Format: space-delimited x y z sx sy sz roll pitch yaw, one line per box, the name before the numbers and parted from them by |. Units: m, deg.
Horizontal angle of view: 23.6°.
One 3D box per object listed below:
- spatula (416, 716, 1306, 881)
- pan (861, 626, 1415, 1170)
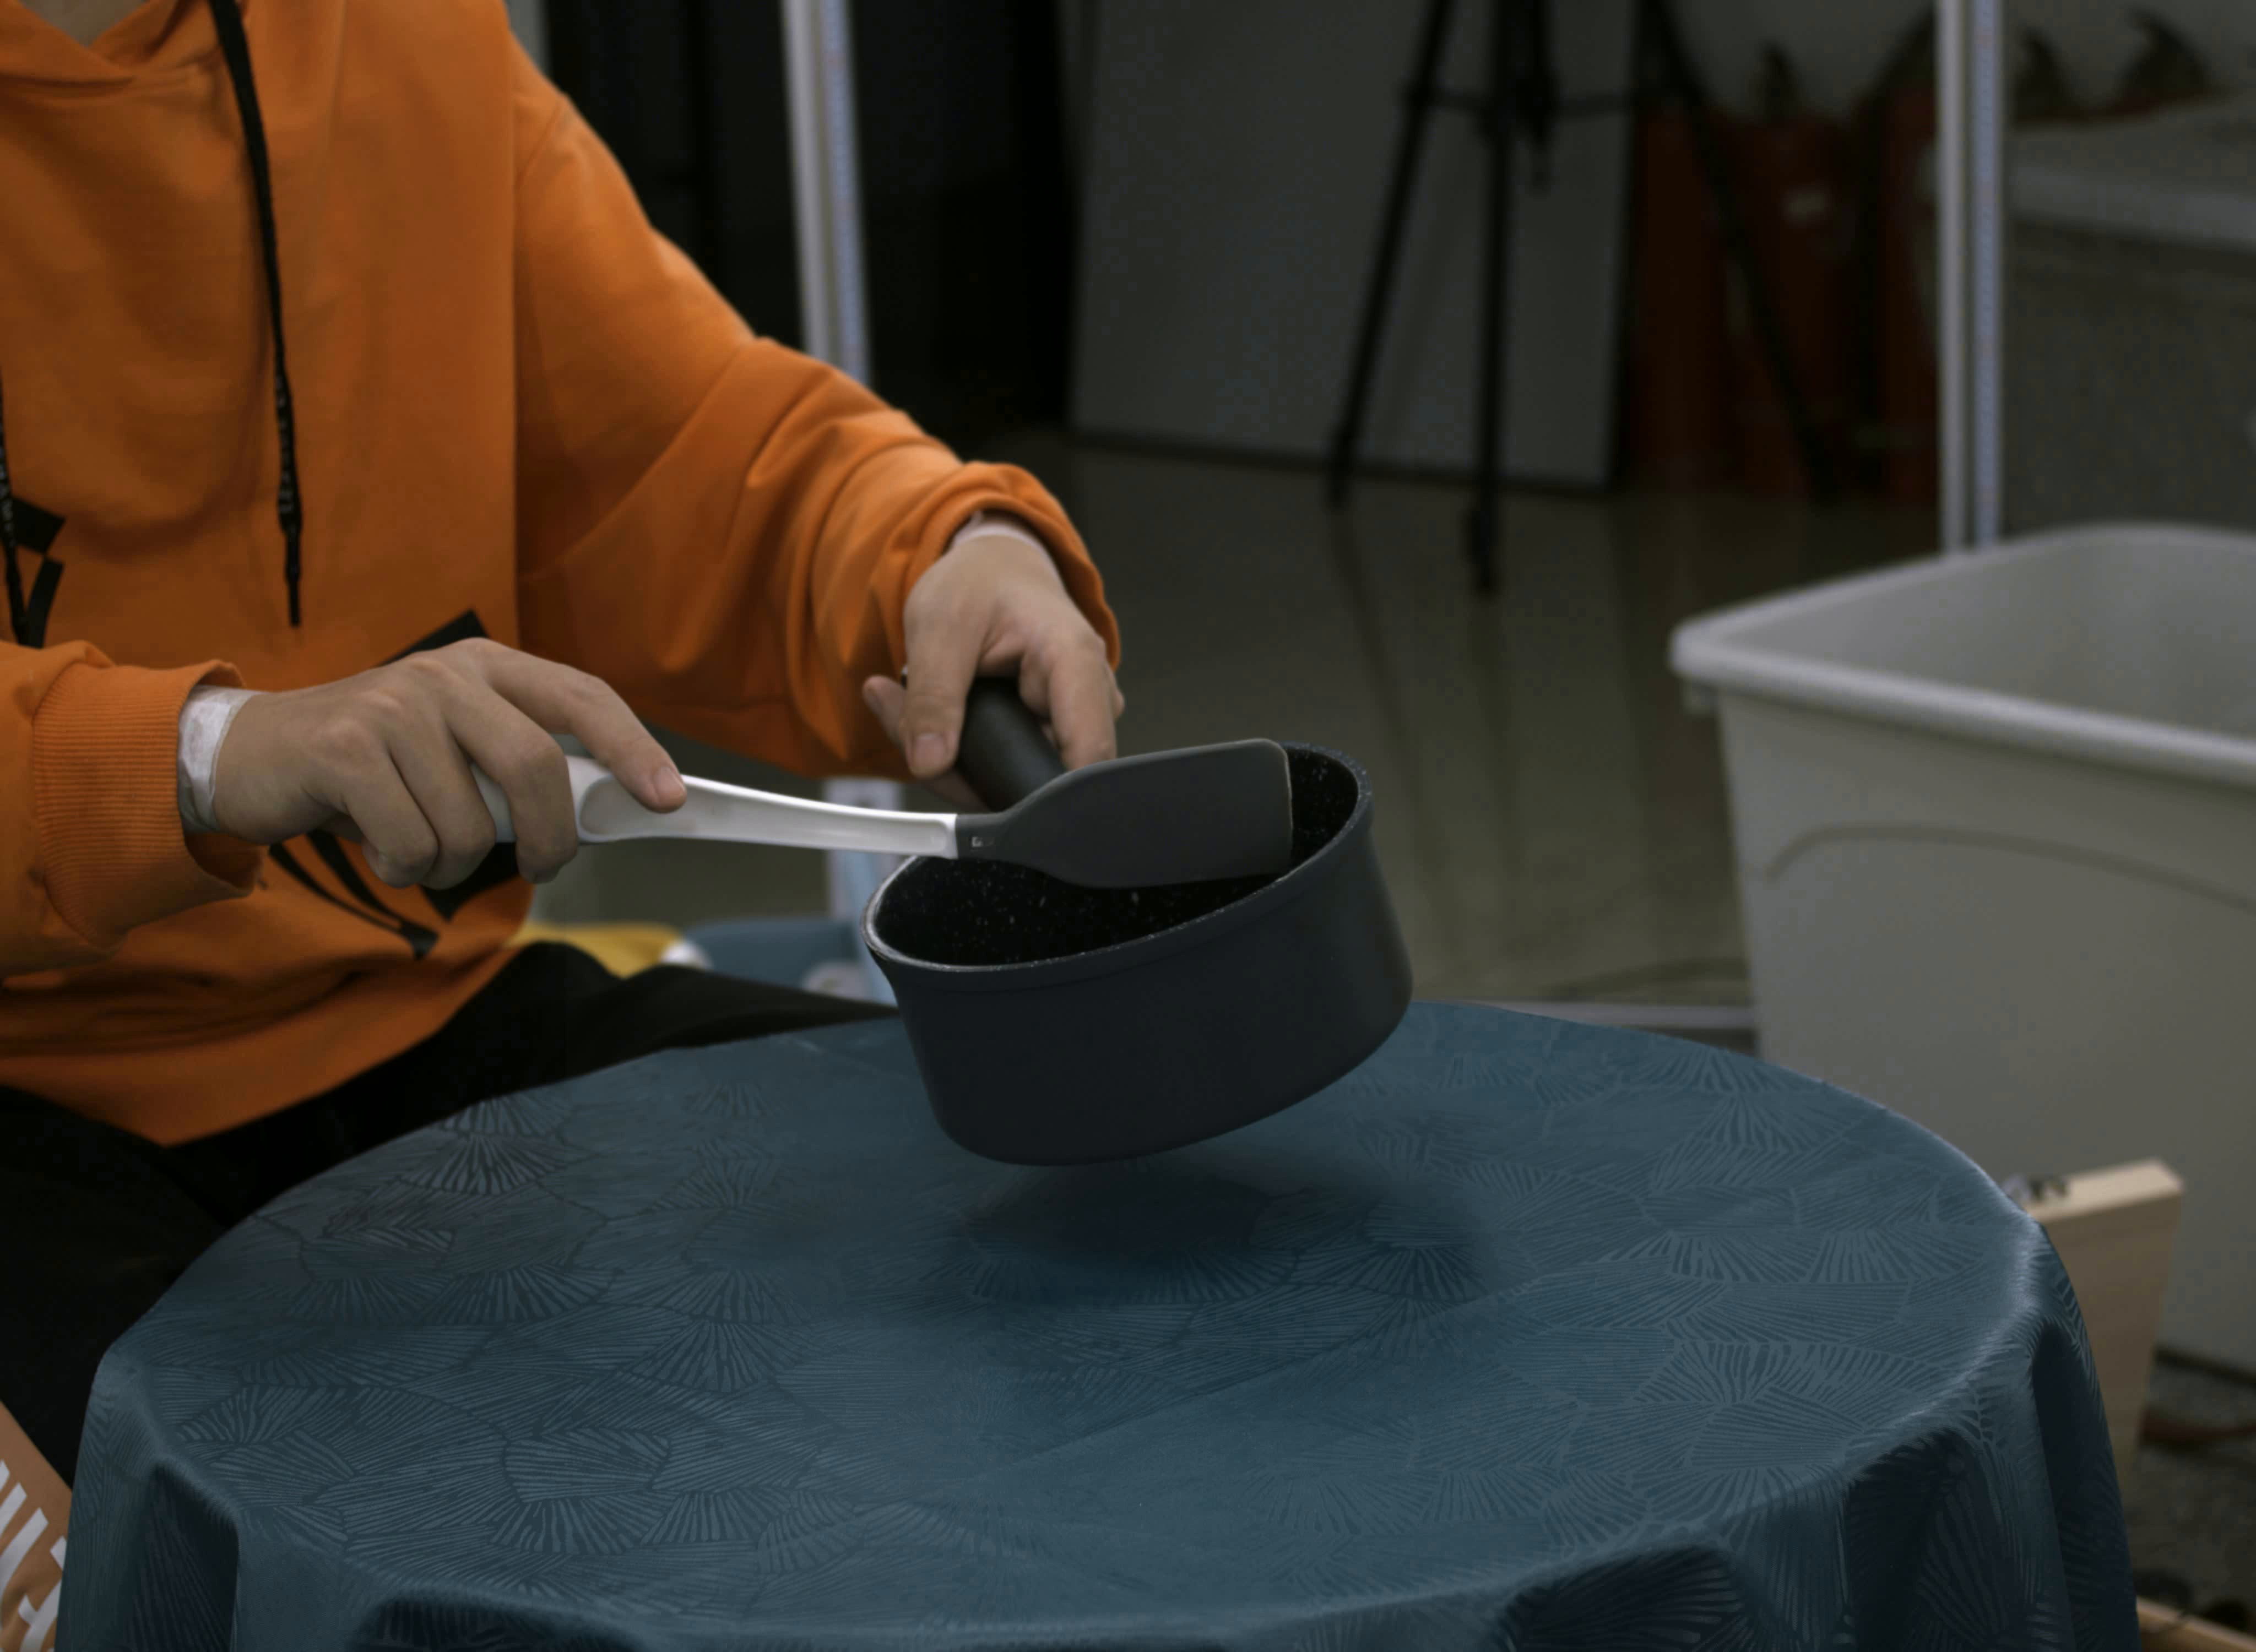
spatula | -0.085 -0.008 1.718 0.285 0.059 0.032 1 31 11
pan | -0.013 0.016 1.805 0.169 0.087 0.331 -19 20 -7
